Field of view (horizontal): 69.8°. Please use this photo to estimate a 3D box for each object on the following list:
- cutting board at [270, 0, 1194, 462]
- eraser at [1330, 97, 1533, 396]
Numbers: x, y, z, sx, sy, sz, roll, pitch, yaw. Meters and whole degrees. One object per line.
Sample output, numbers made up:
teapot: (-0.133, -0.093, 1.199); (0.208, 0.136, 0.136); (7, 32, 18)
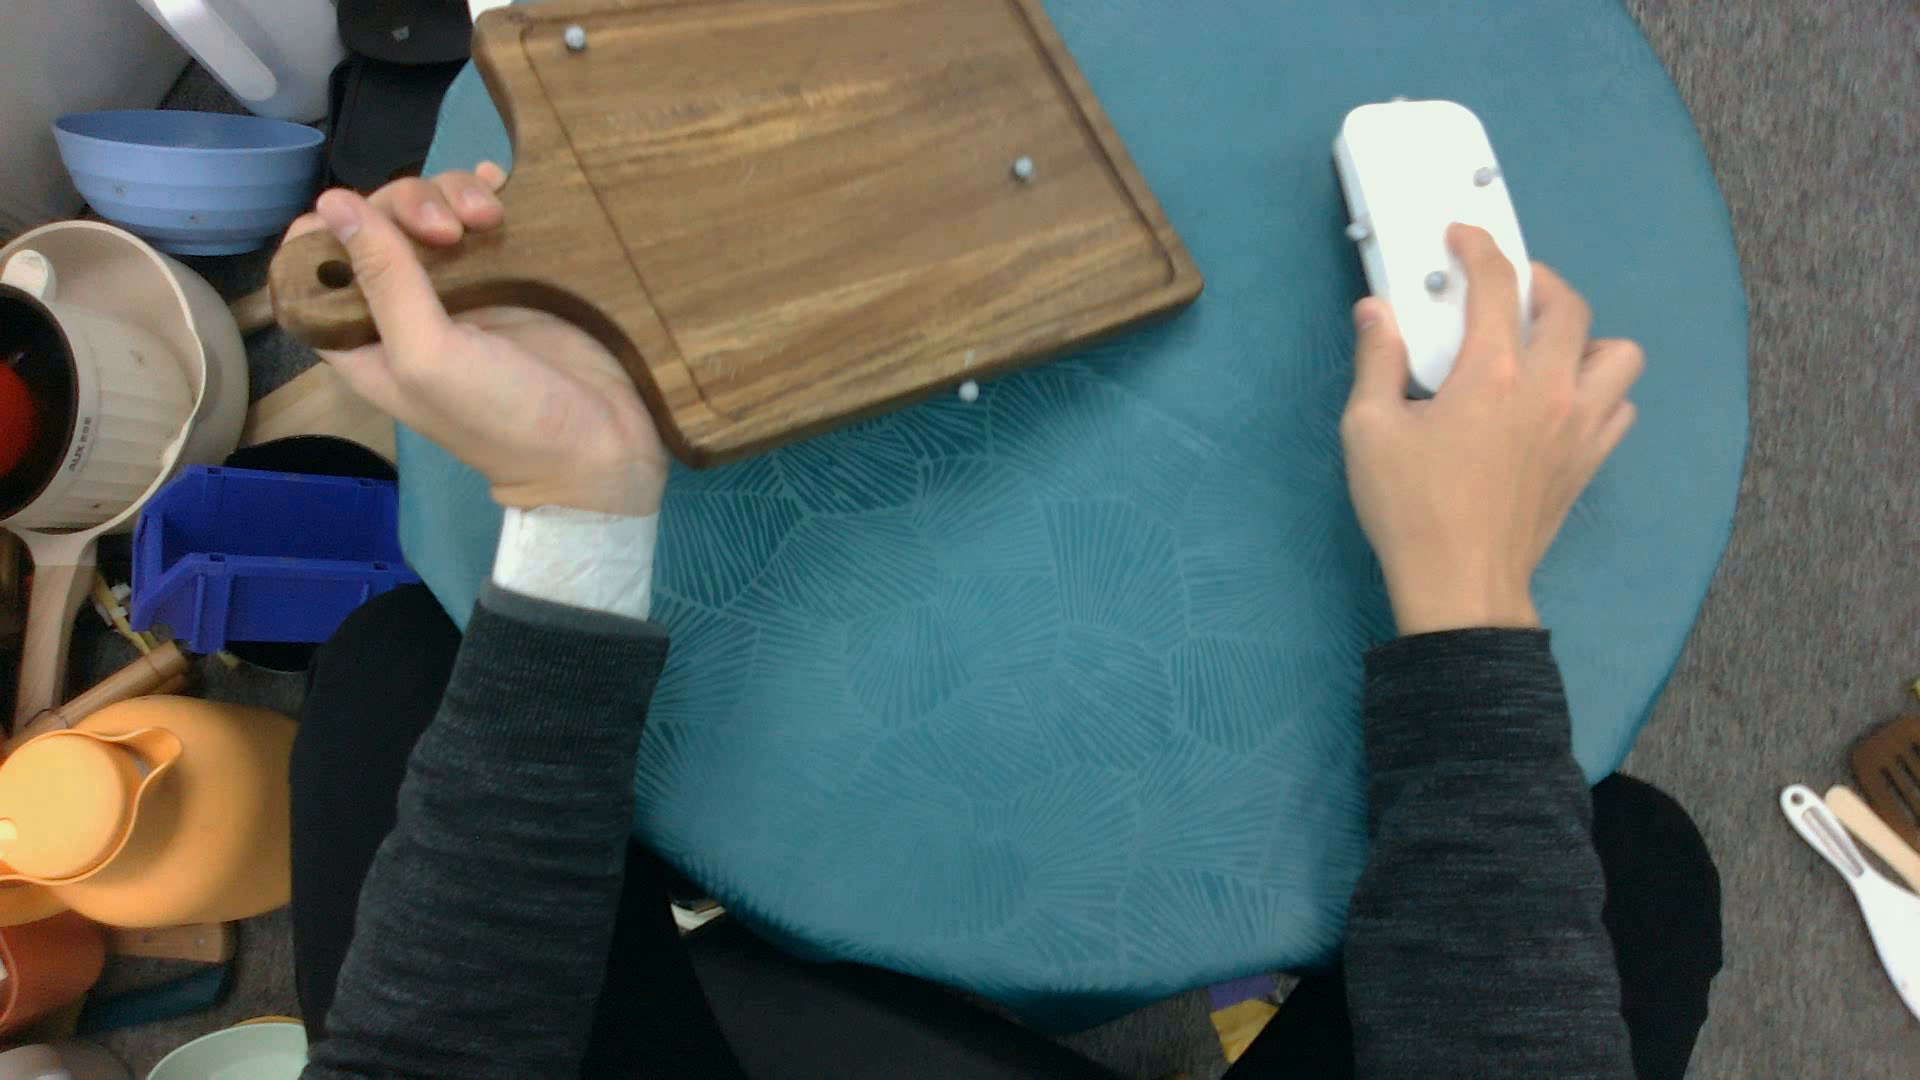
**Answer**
cutting board: (-0.082, -0.139, 0.535); (0.353, 0.023, 0.201); (-23, 78, -30)
eraser: (0.196, -0.125, 0.581); (0.063, 0.034, 0.131); (-5, 75, -10)
